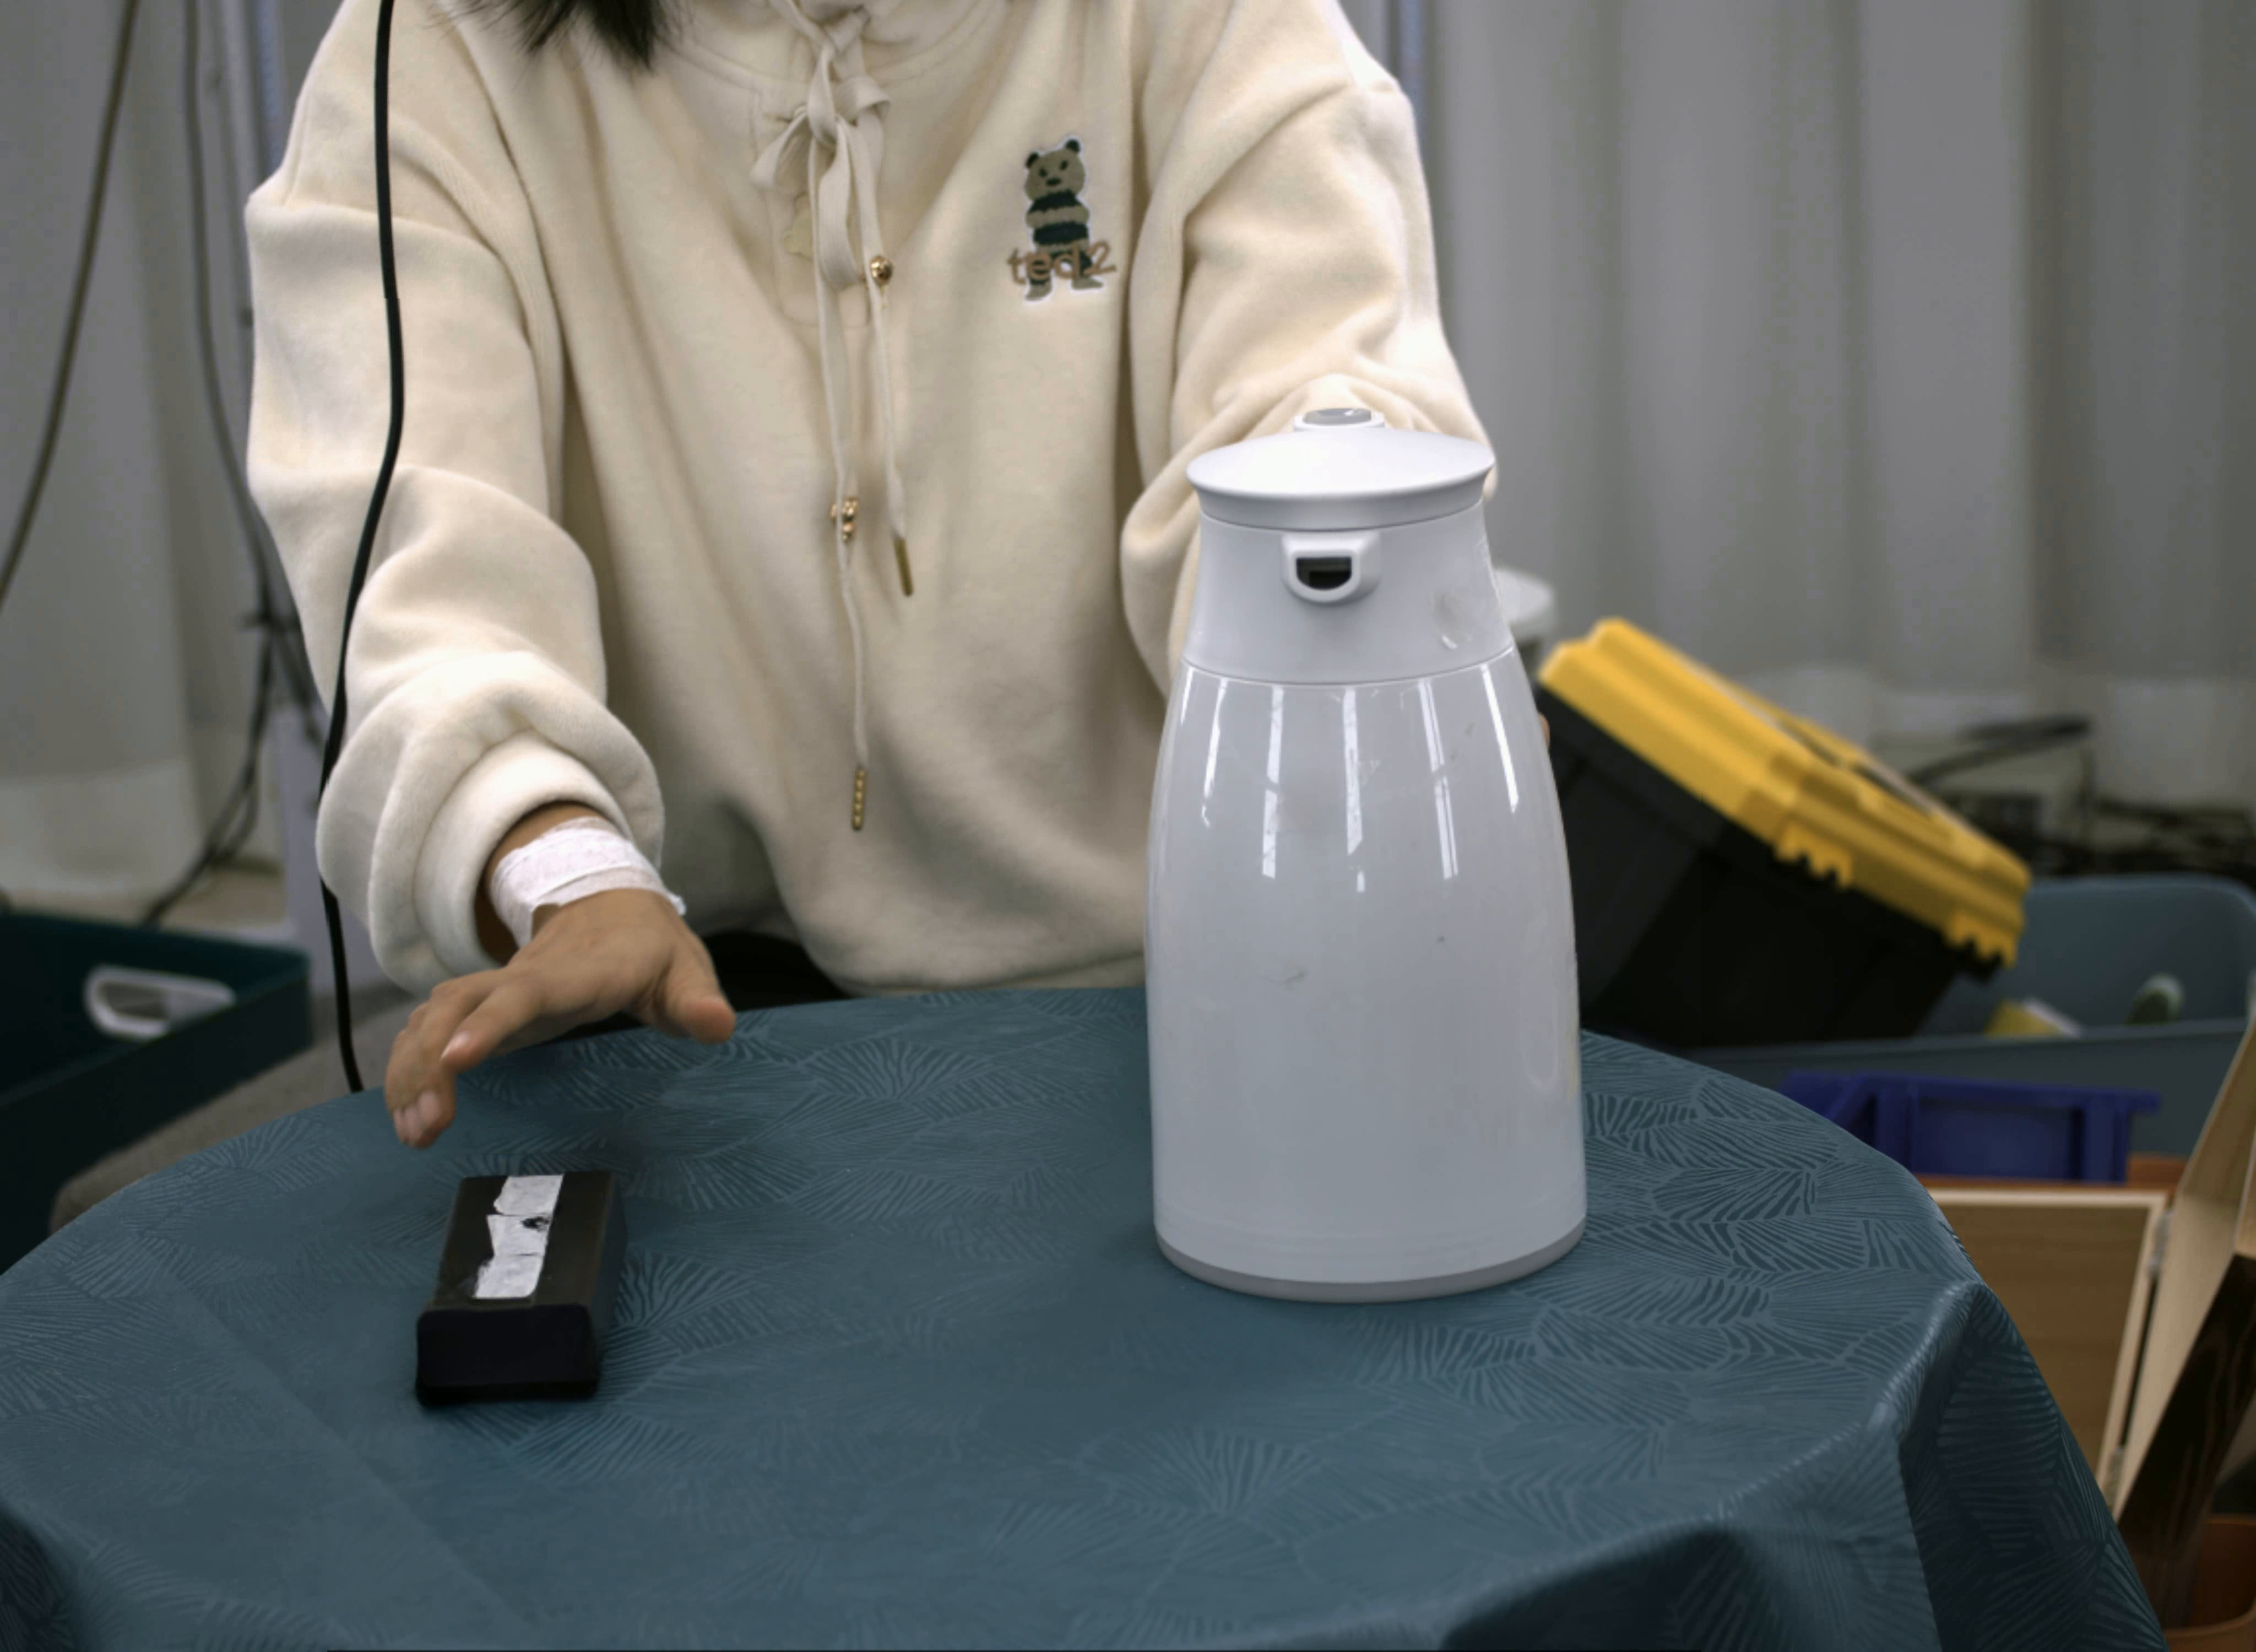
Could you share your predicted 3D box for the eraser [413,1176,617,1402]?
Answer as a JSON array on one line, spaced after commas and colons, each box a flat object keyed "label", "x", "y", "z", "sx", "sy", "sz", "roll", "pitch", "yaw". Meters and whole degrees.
[{"label": "eraser", "x": -0.179, "y": 0.136, "z": 1.614, "sx": 0.053, "sy": 0.030, "sz": 0.126, "roll": -1, "pitch": 14, "yaw": -3}]

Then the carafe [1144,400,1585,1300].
[{"label": "carafe", "x": 0.069, "y": -0.001, "z": 1.656, "sx": 0.132, "sy": 0.248, "sz": 0.168, "roll": -2, "pitch": 13, "yaw": 6}]
